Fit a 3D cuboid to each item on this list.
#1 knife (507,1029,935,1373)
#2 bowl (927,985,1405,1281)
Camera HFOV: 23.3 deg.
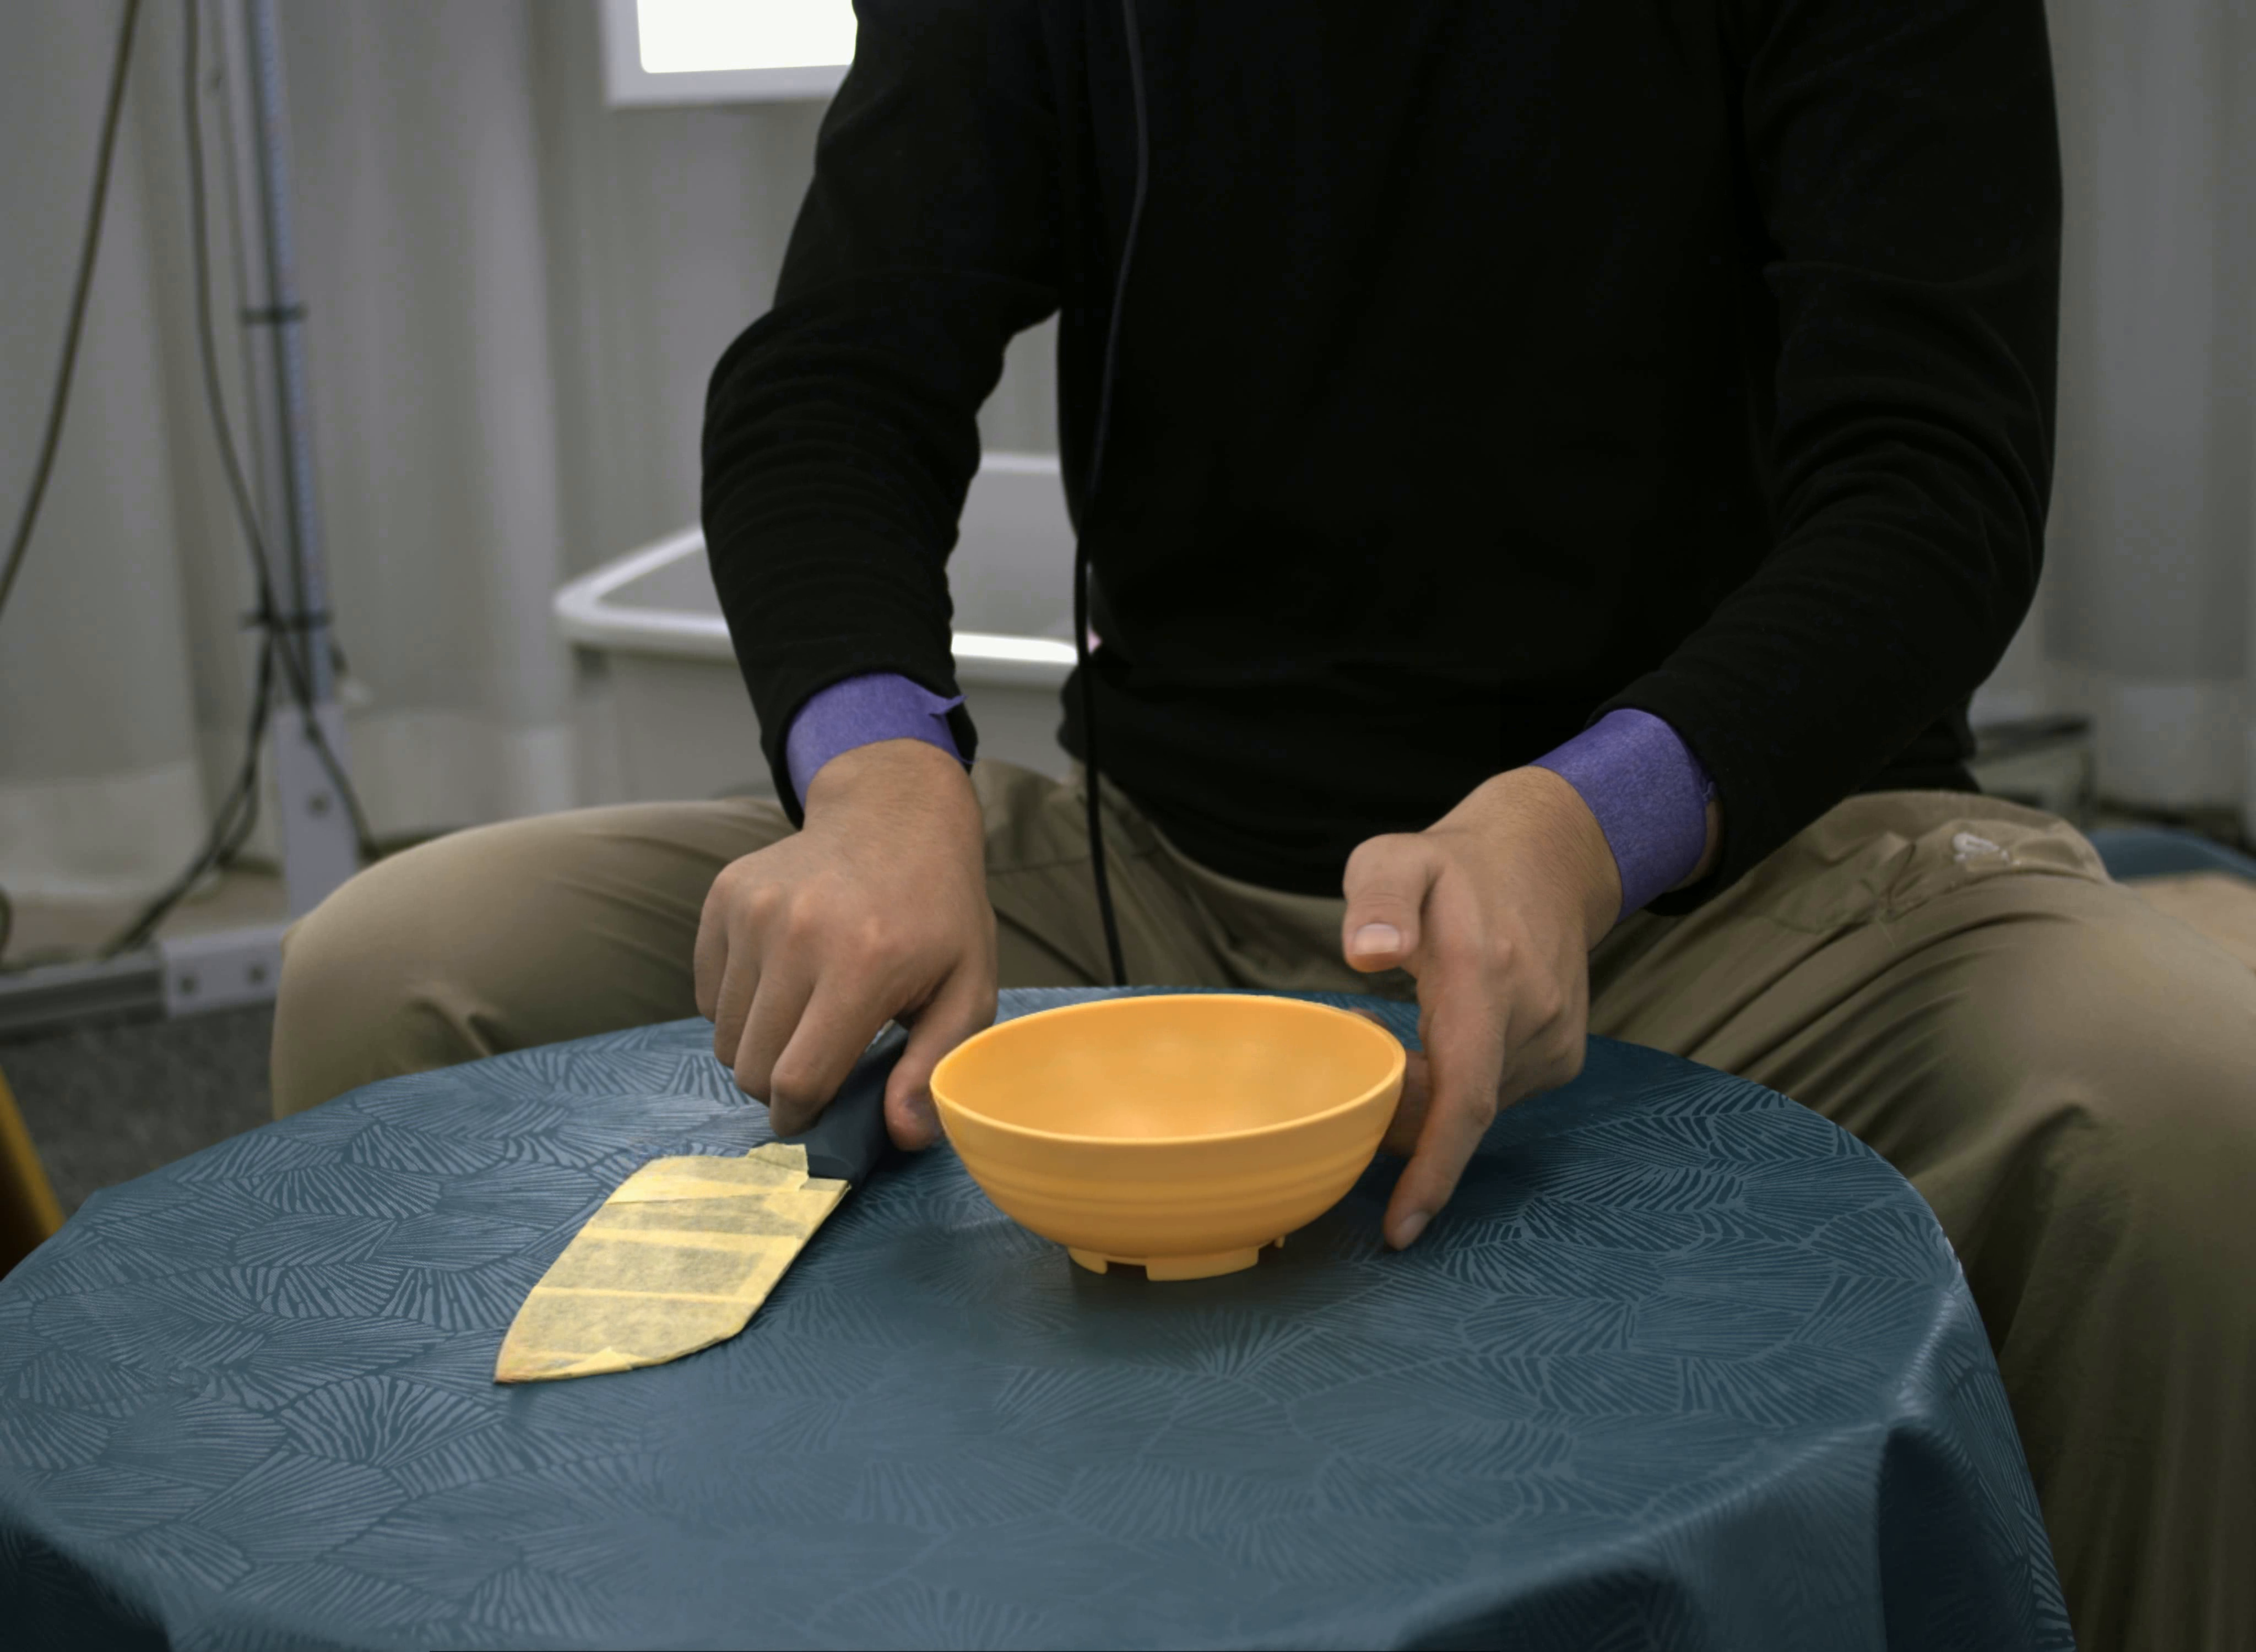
[{"bbox_3d":[-0.122,0.116,1.704,0.081,0.027,0.291,5,18,16],"label":"knife"},{"bbox_3d":[0.012,0.099,1.658,0.145,0.060,0.146,-1,16,0],"label":"bowl"}]
